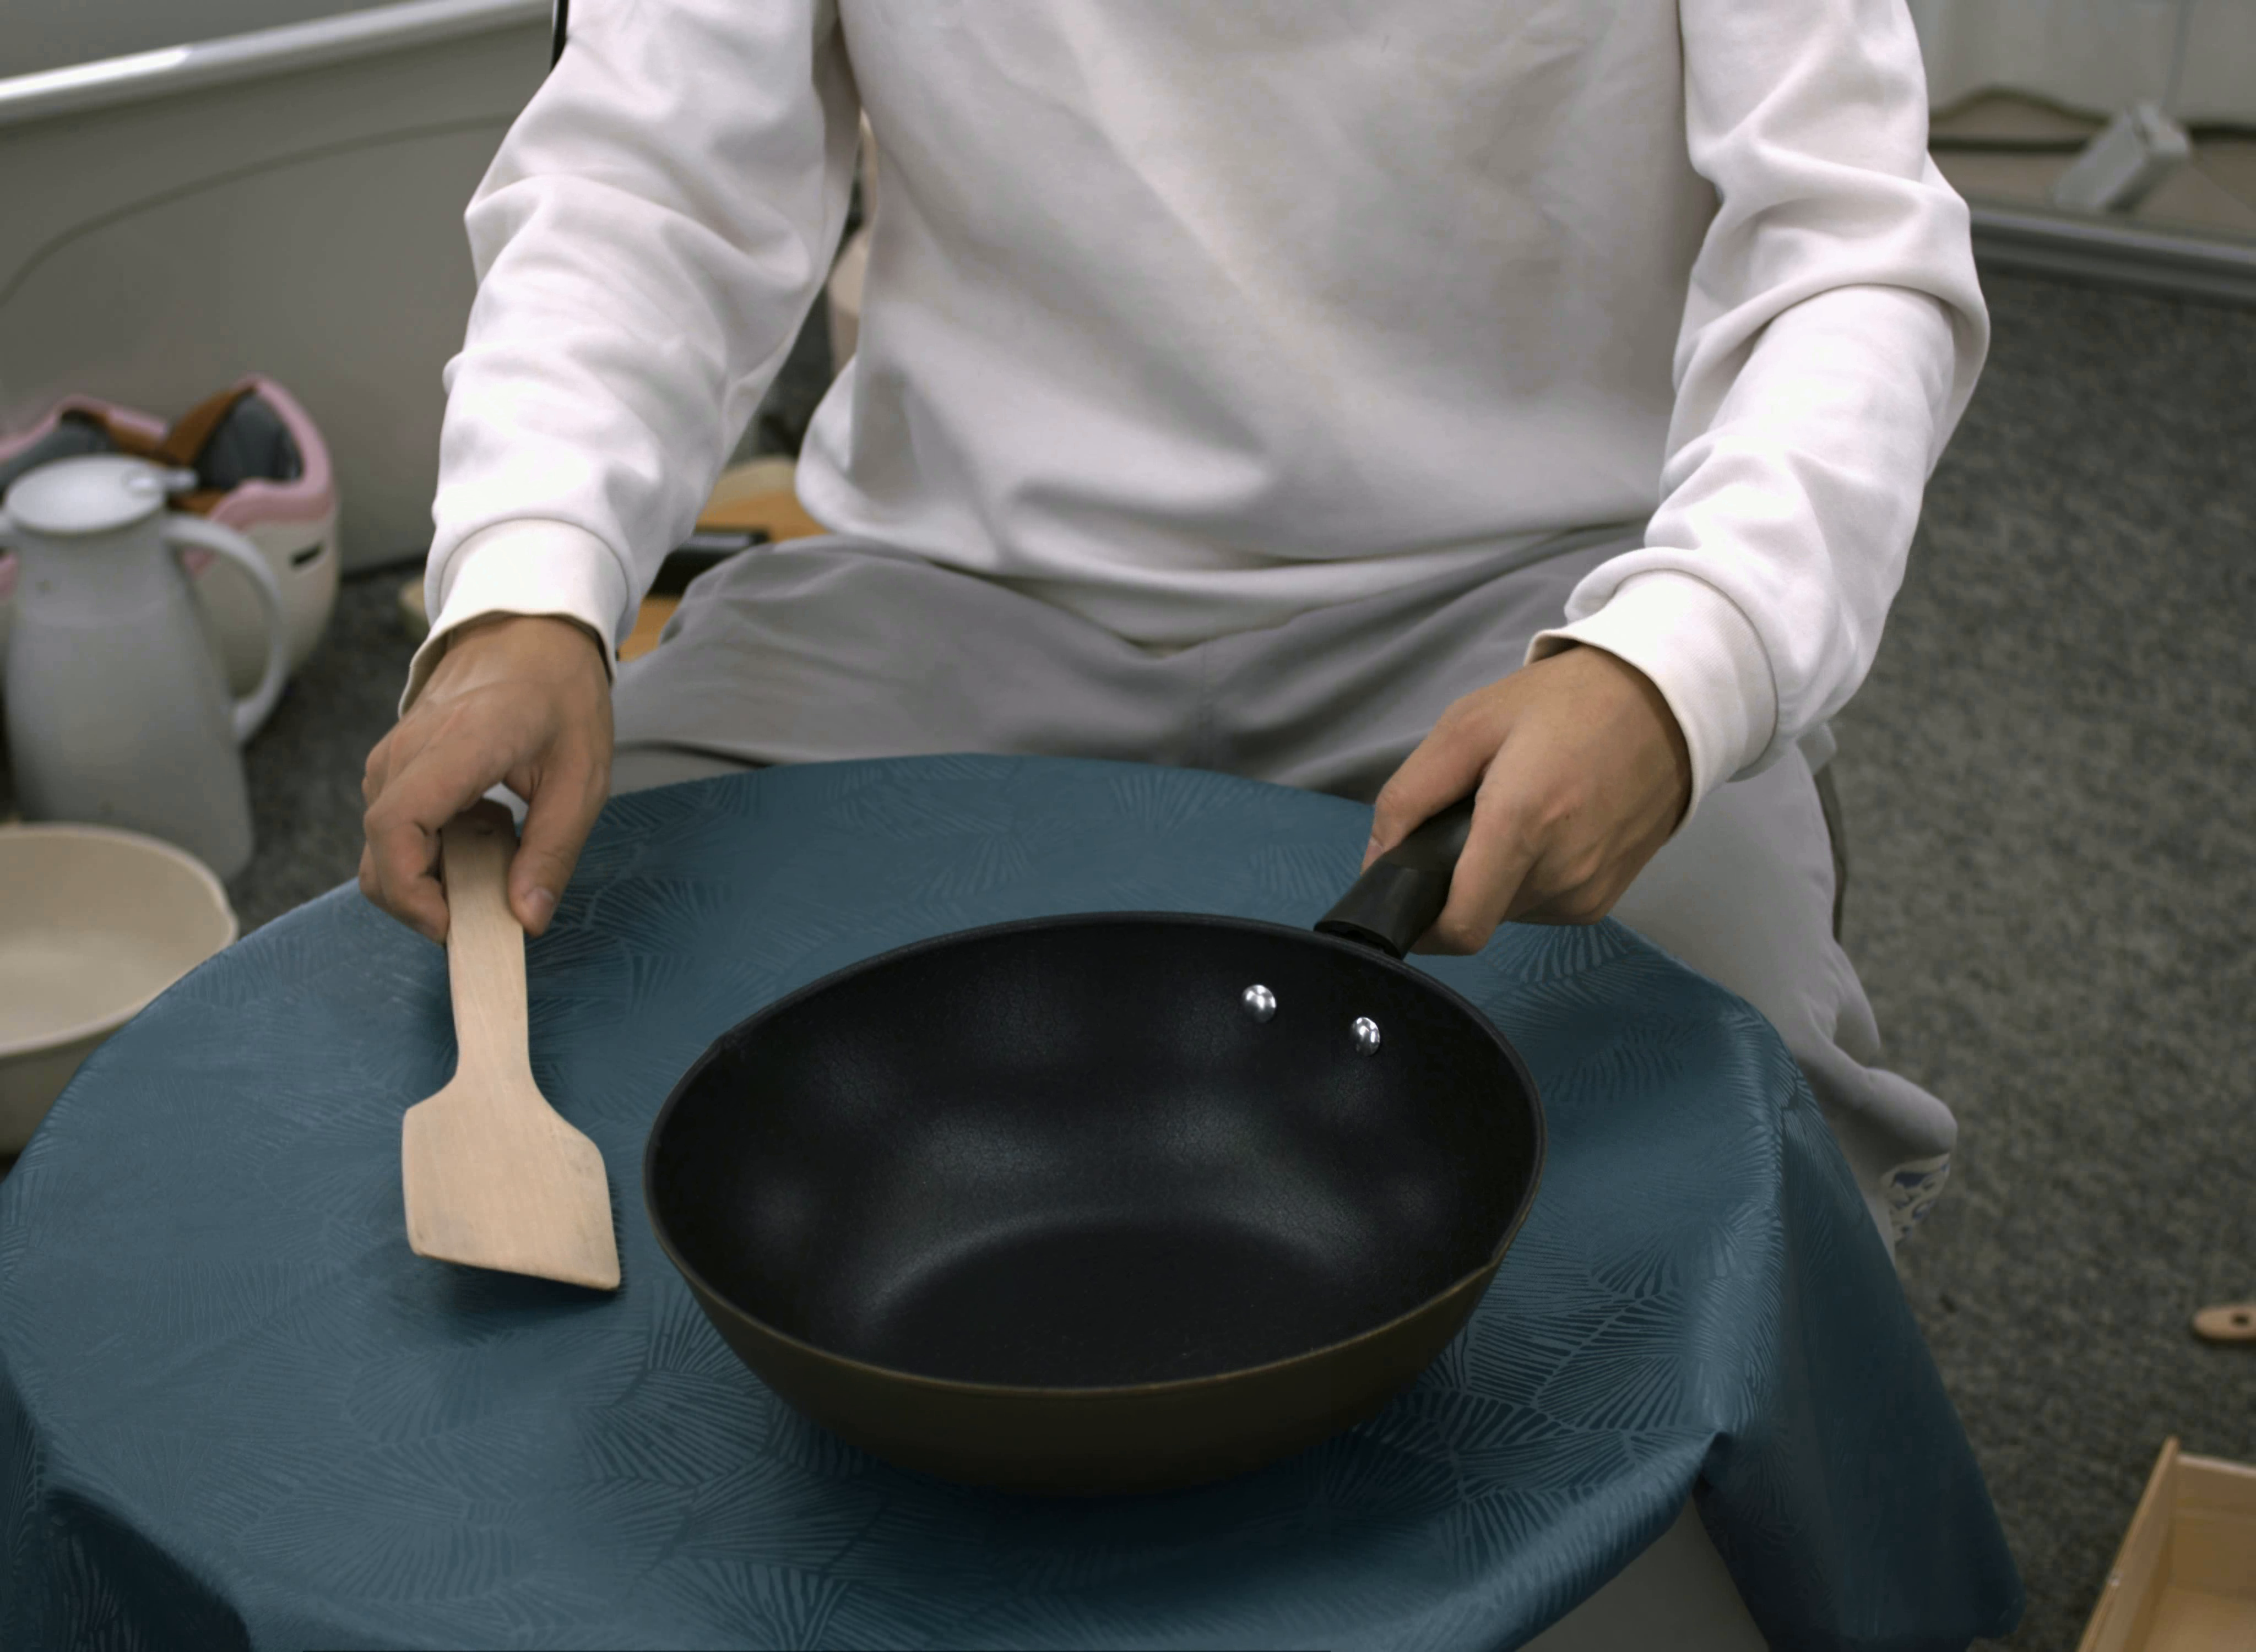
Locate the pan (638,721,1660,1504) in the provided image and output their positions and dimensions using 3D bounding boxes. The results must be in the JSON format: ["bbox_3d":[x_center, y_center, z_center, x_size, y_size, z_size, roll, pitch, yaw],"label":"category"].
[{"bbox_3d":[0.041,0.092,1.823,0.287,0.086,0.470,16,33,30],"label":"pan"}]

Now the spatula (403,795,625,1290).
[{"bbox_3d":[-0.218,0.069,1.932,0.072,0.010,0.297,11,29,-16],"label":"spatula"}]
